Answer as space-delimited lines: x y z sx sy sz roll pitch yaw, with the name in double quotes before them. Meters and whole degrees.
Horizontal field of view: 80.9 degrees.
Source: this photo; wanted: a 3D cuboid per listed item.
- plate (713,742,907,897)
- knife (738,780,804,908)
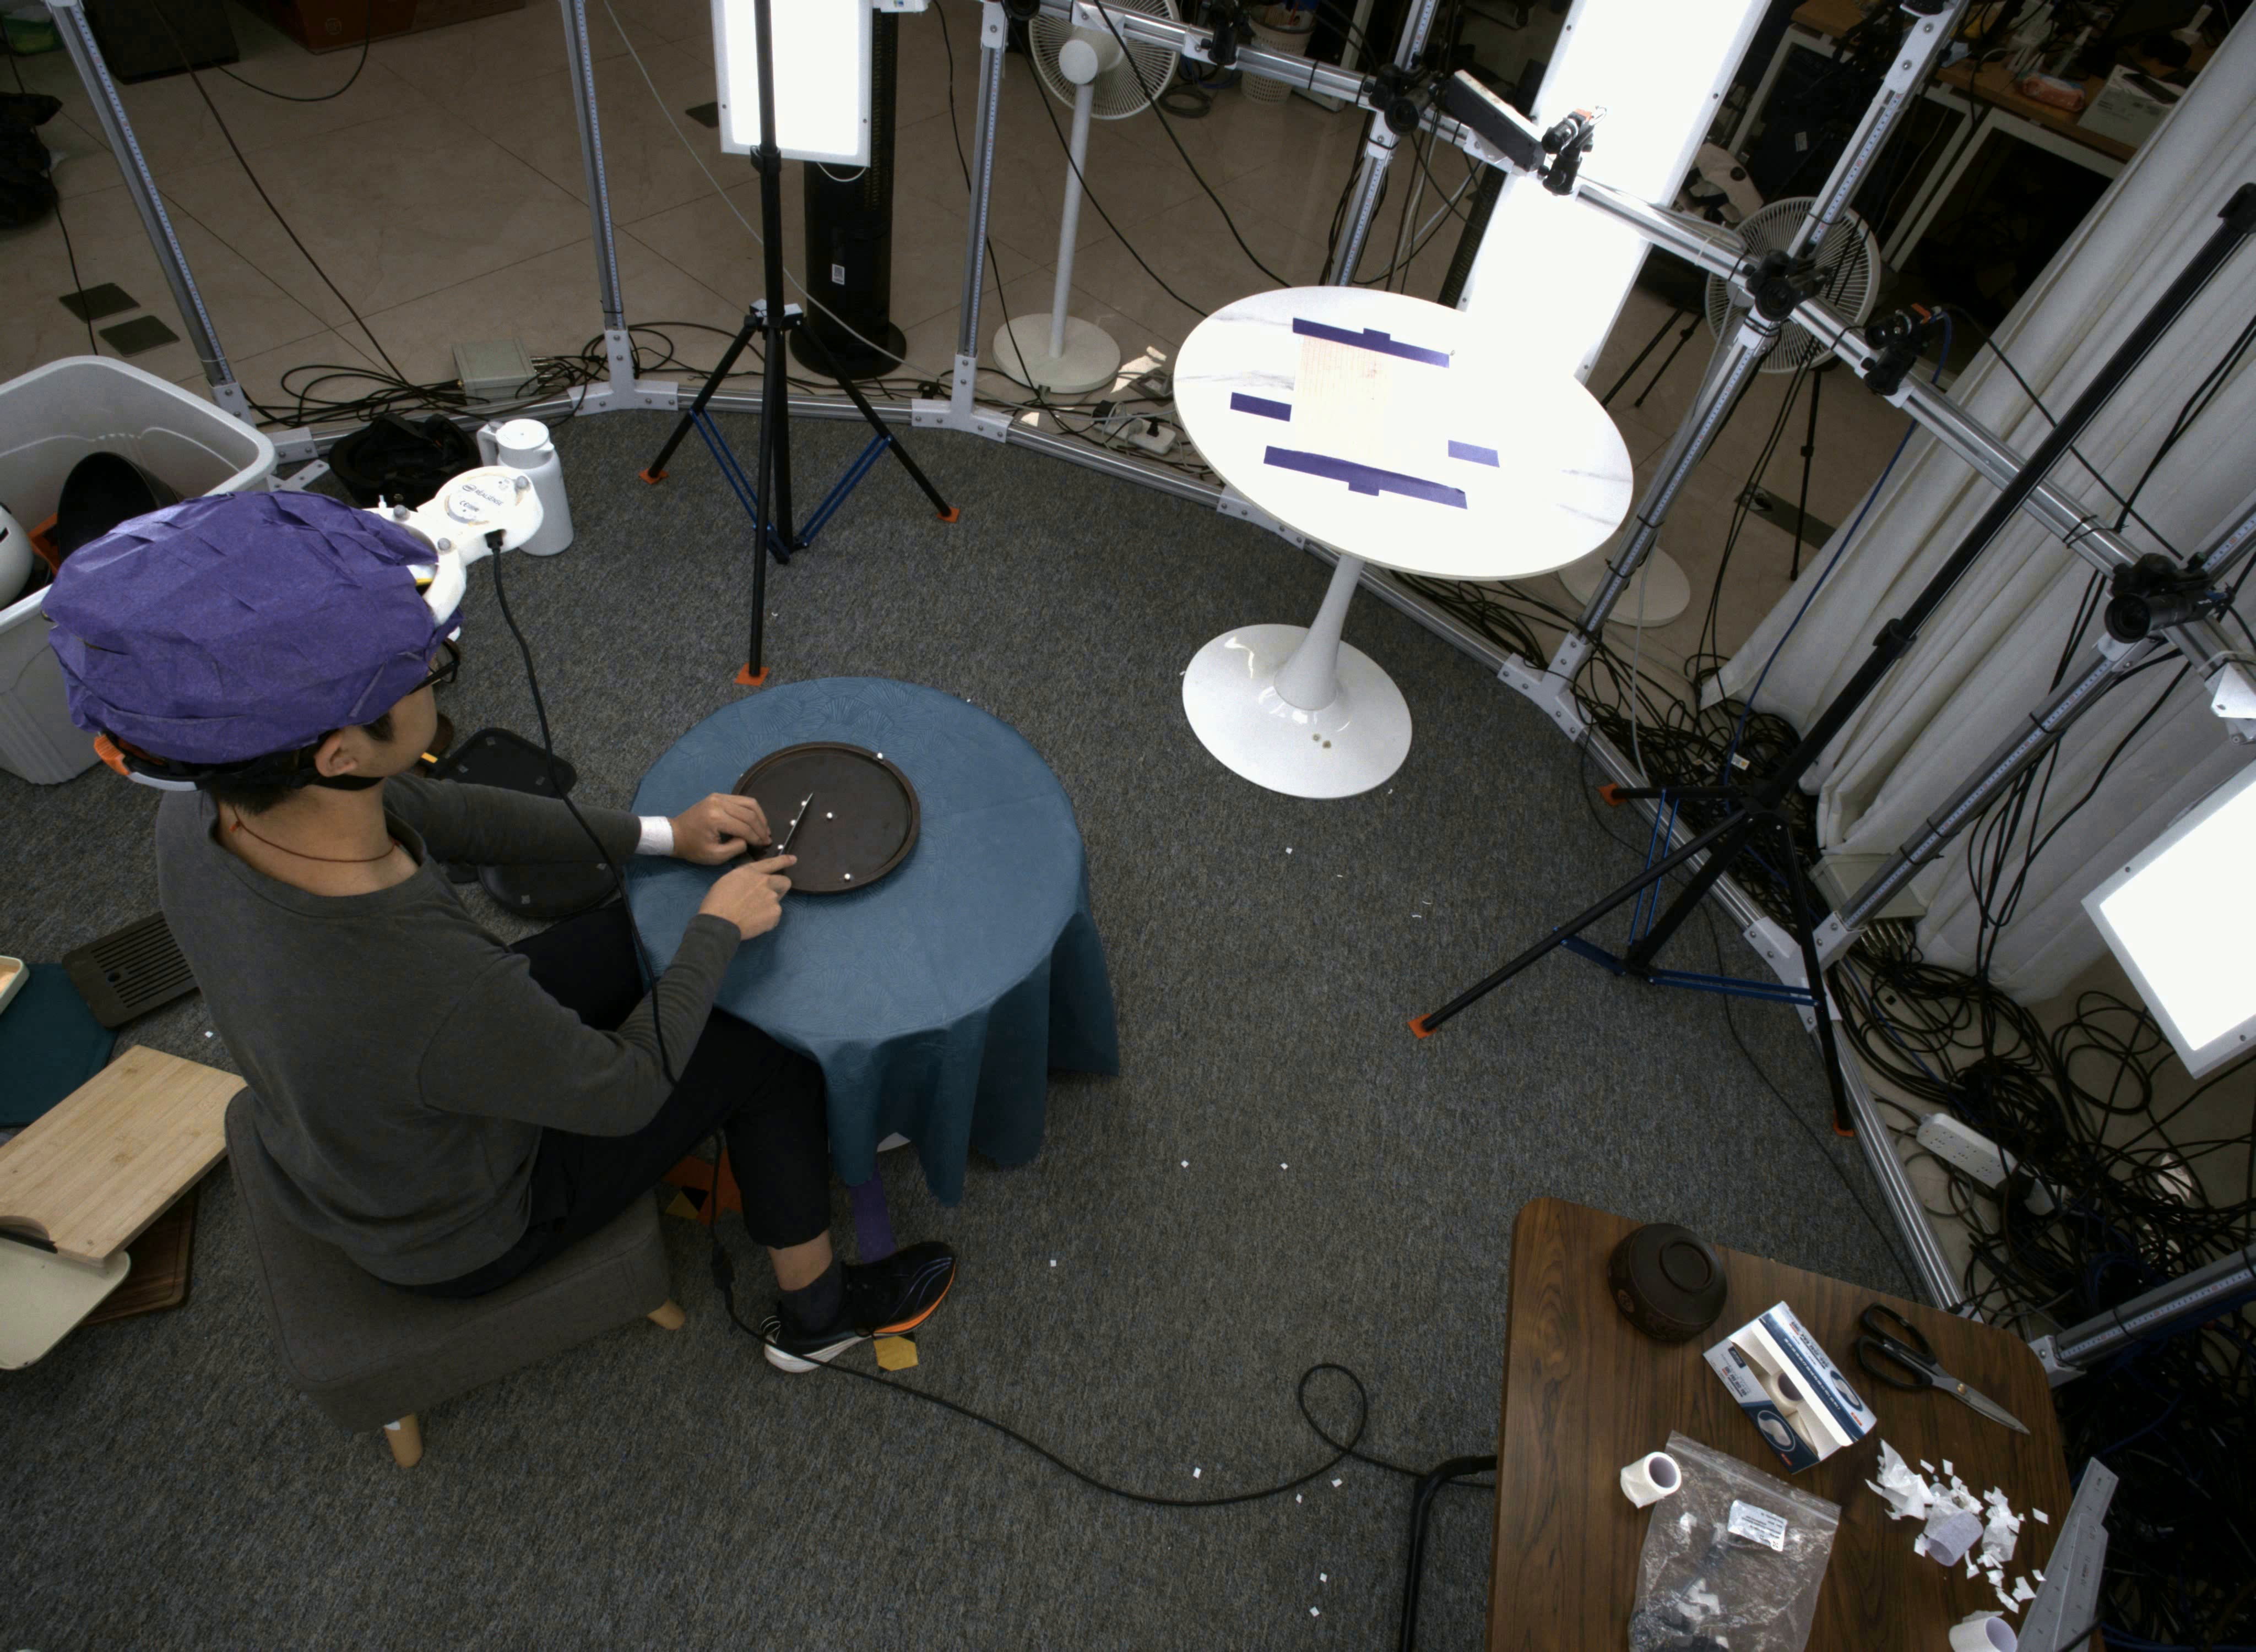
"plate" -0.422 -0.011 1.729 0.254 0.029 0.250 8 51 -9
"knife" -0.457 0.014 1.670 0.016 0.025 0.234 9 43 3
